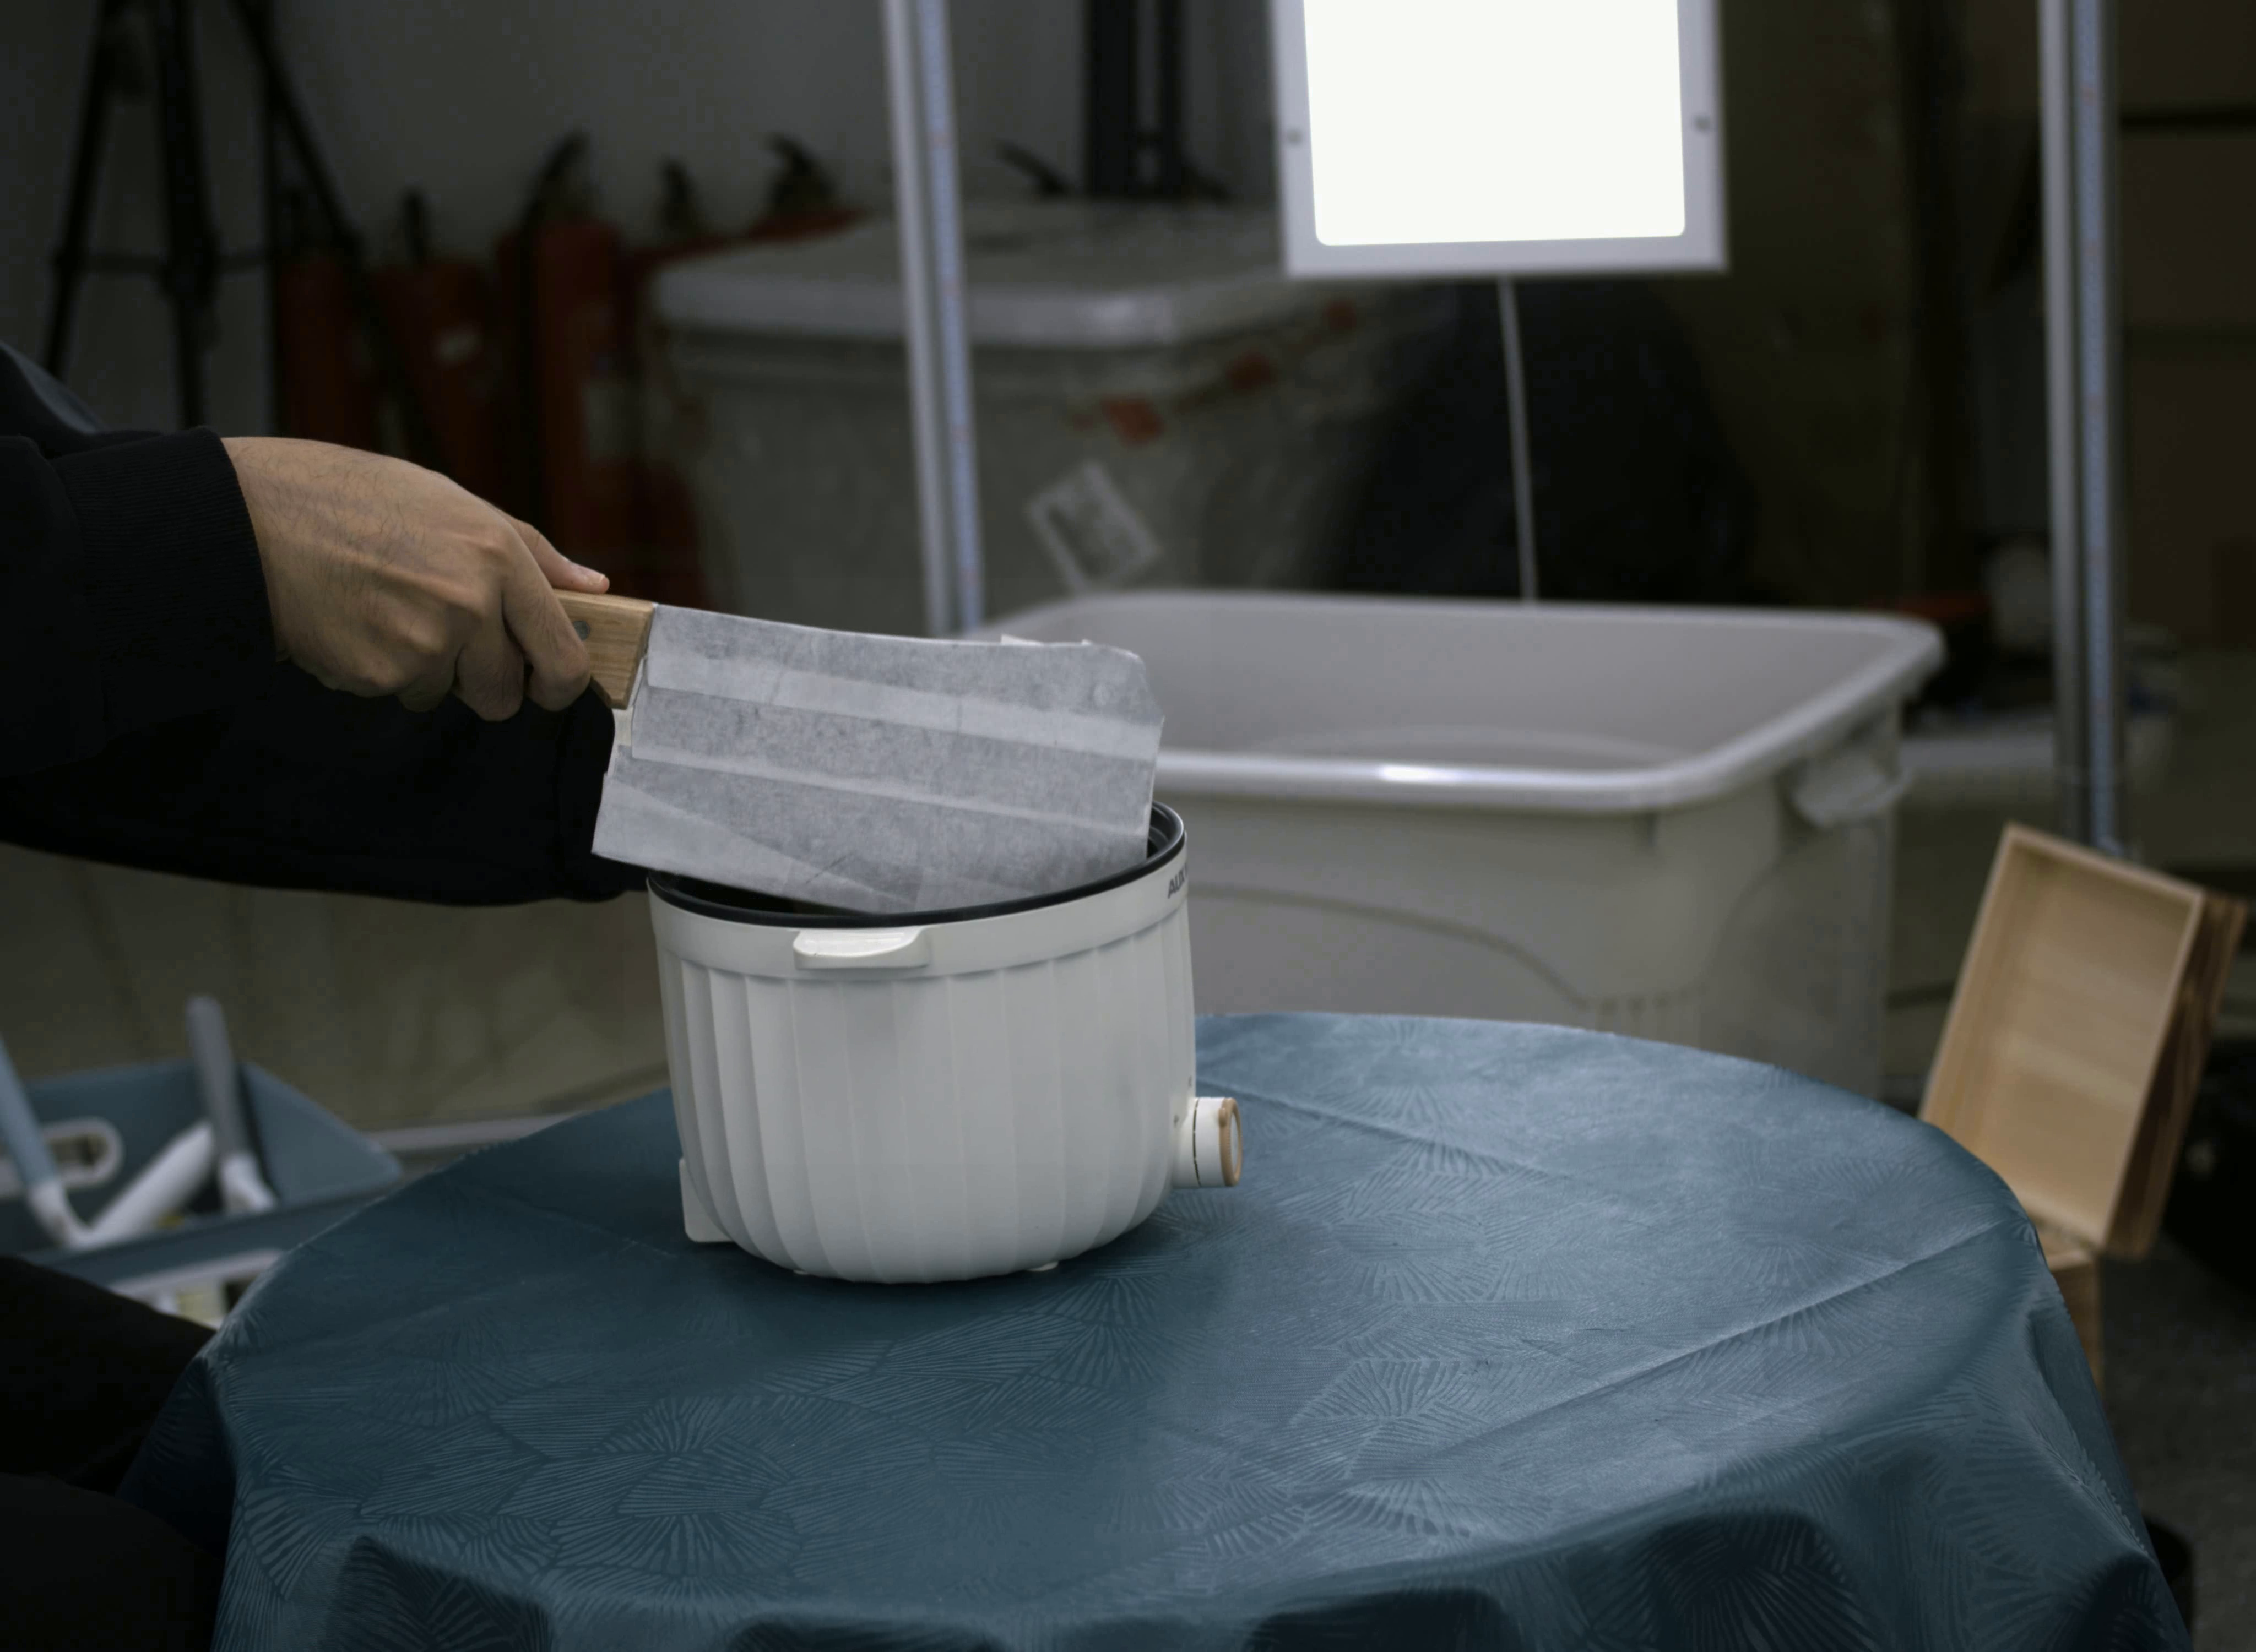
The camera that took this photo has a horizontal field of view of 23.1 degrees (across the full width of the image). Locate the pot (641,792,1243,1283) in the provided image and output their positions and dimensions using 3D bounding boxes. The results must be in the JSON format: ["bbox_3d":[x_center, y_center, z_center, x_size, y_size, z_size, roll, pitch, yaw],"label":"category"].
[{"bbox_3d":[-0.061,0.070,1.857,0.192,0.143,0.238,-5,14,12],"label":"pot"}]

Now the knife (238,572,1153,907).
[{"bbox_3d":[-0.138,-0.036,1.815,0.313,0.114,0.022,13,2,-6],"label":"knife"}]
